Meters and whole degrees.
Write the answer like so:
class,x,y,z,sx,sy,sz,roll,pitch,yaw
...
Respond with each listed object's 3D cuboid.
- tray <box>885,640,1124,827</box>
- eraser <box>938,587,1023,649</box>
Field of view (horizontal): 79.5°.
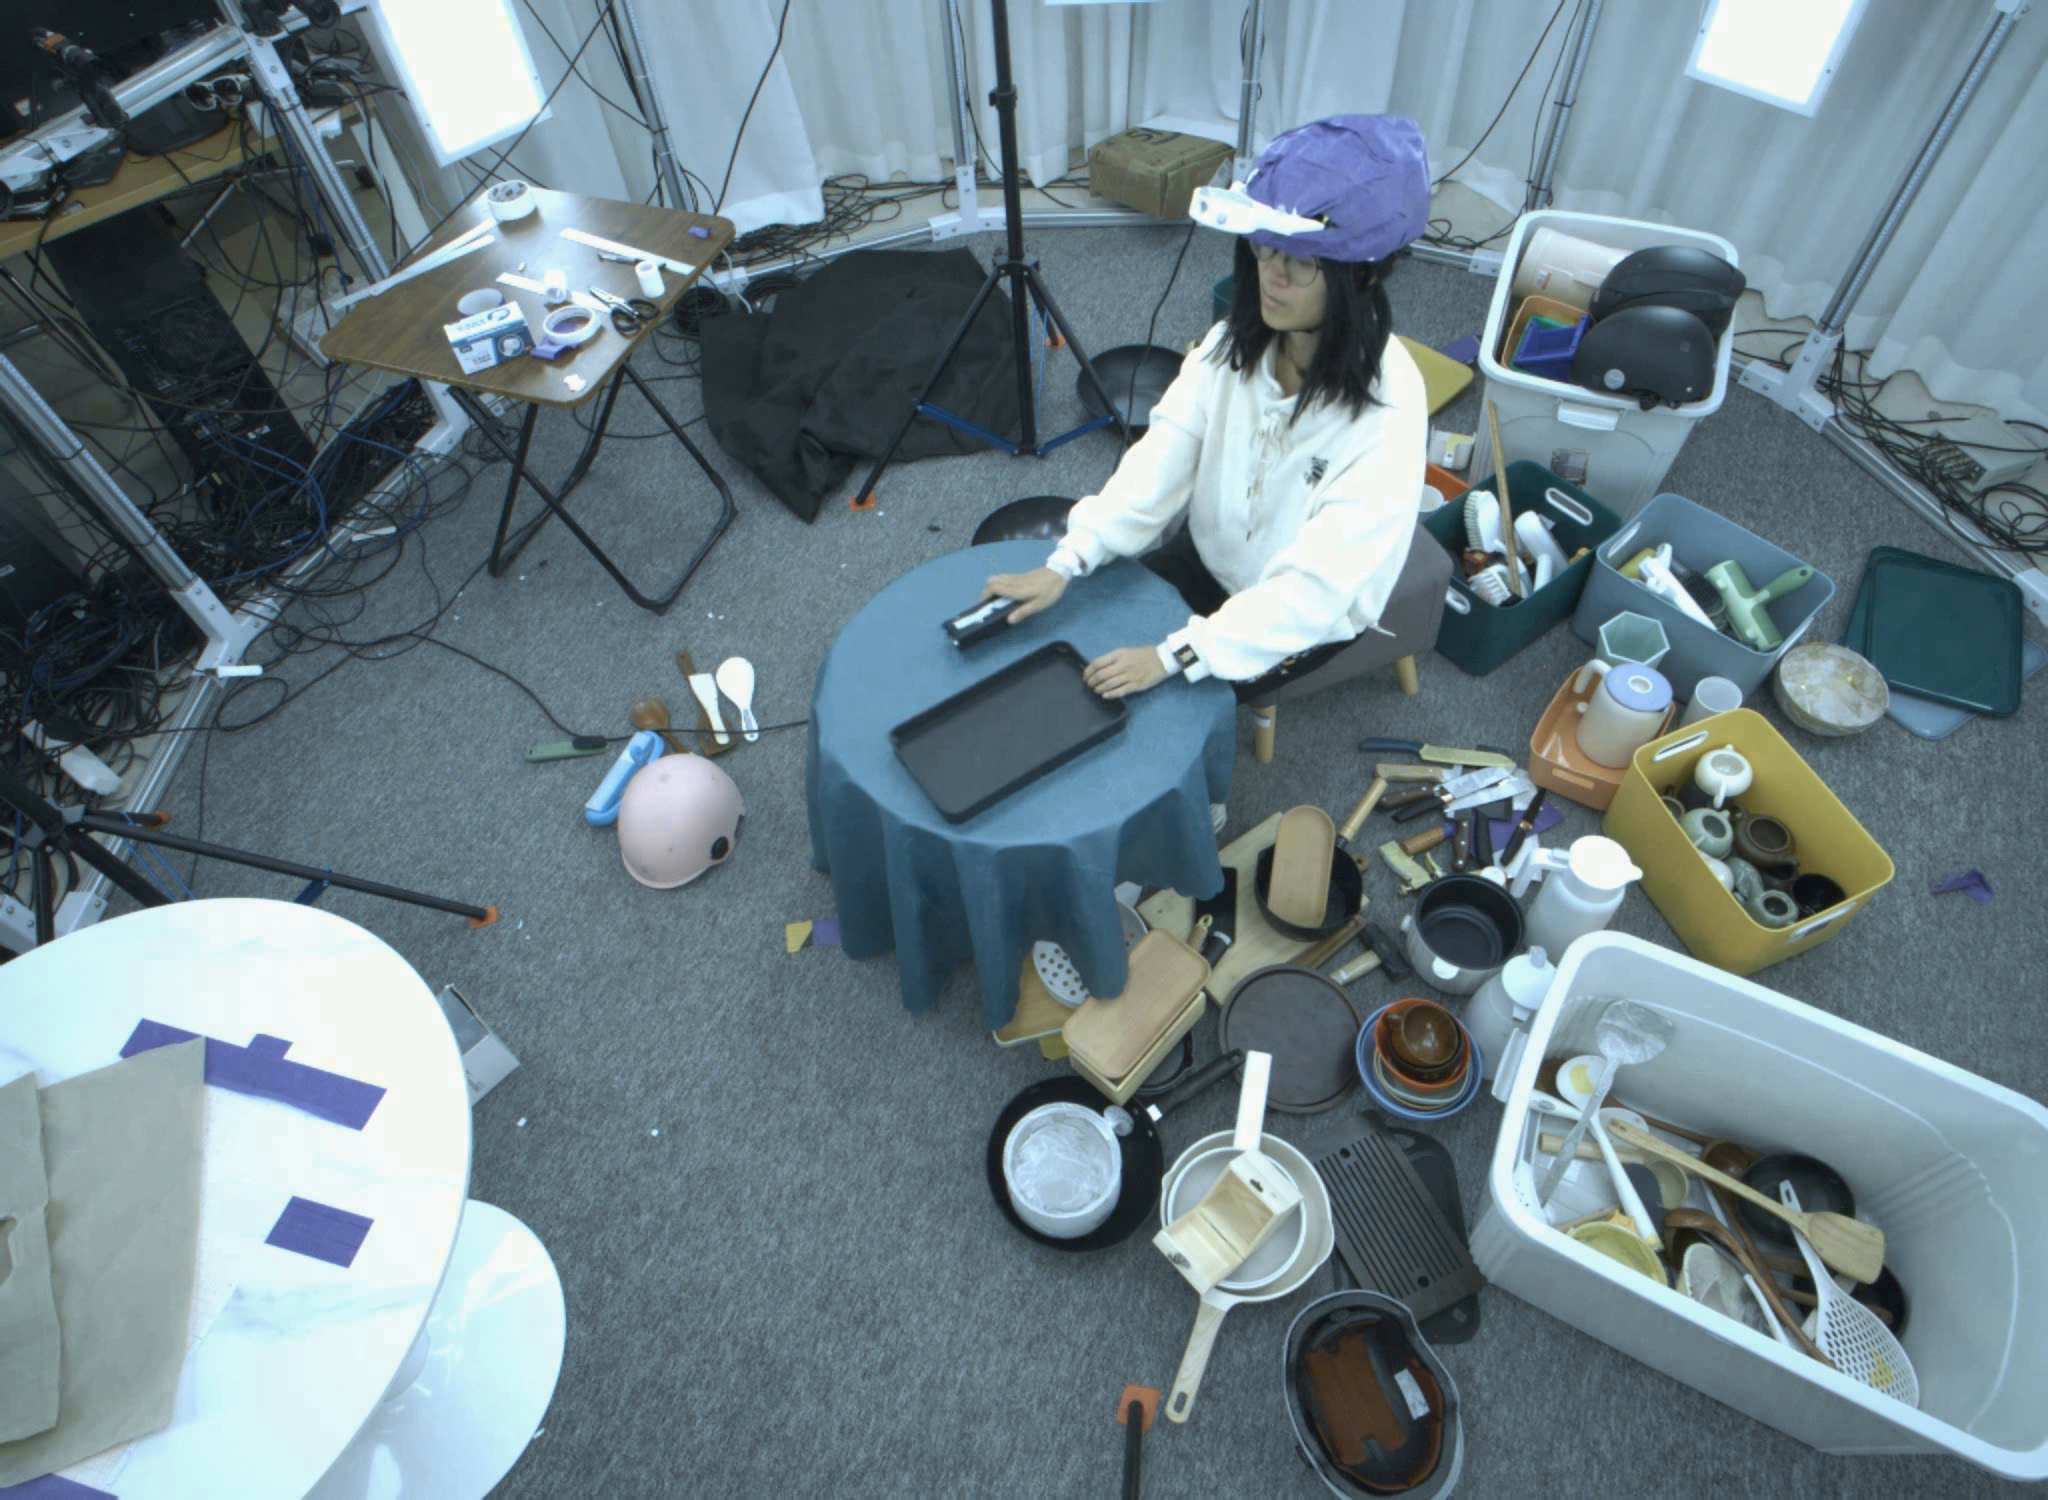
class,x,y,z,sx,sy,sz,roll,pitch,yaw
tray,-0.026,-0.029,1.786,0.320,0.037,0.181,-31,60,-19
eraser,-0.067,-0.205,1.901,0.126,0.031,0.052,-29,55,-17
